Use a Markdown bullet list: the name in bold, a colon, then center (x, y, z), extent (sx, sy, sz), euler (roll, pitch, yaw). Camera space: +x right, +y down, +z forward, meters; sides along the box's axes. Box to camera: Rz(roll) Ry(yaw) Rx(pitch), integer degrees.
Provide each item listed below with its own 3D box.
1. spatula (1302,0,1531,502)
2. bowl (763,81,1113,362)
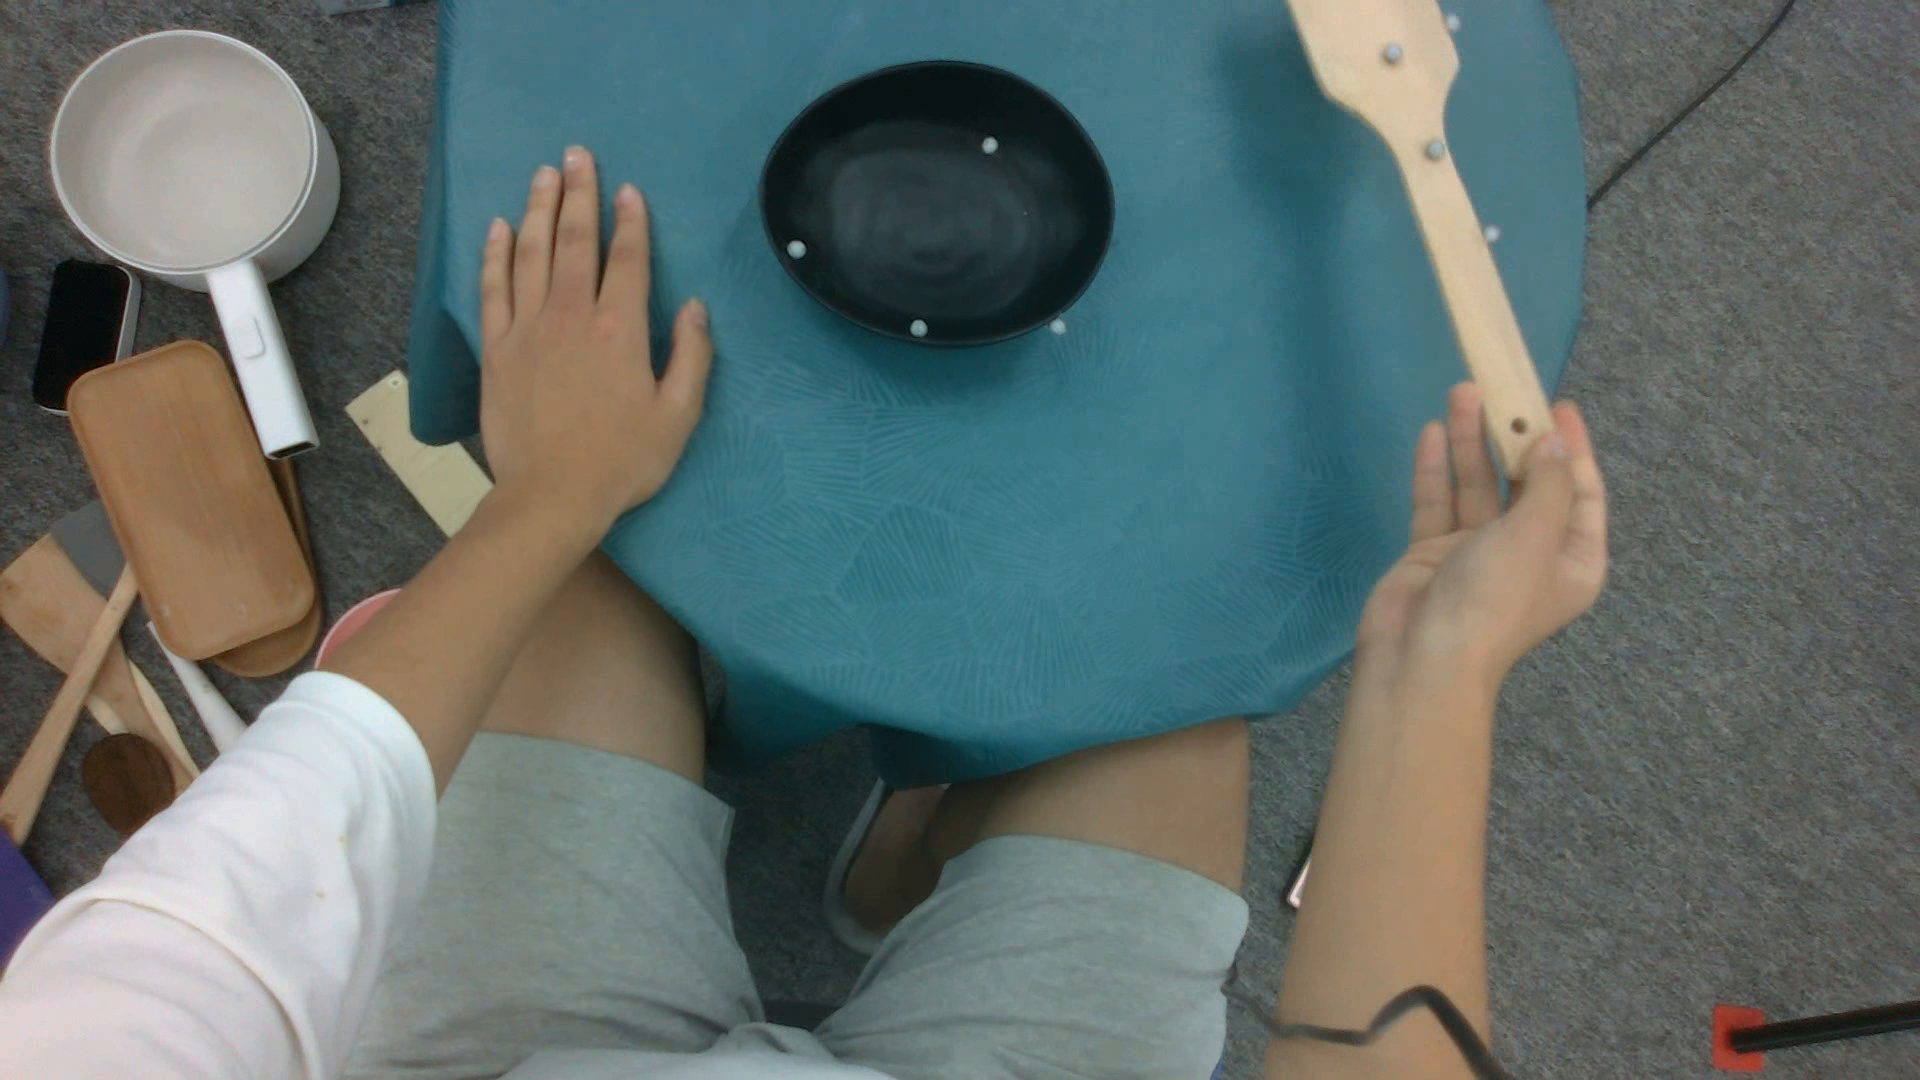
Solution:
- **spatula**: center (0.231, -0.155, 0.675), extent (0.072, 0.010, 0.294), euler (-5, 71, -8)
- **bowl**: center (-0.012, -0.151, 0.689), extent (0.170, 0.066, 0.137), euler (0, 85, -5)
